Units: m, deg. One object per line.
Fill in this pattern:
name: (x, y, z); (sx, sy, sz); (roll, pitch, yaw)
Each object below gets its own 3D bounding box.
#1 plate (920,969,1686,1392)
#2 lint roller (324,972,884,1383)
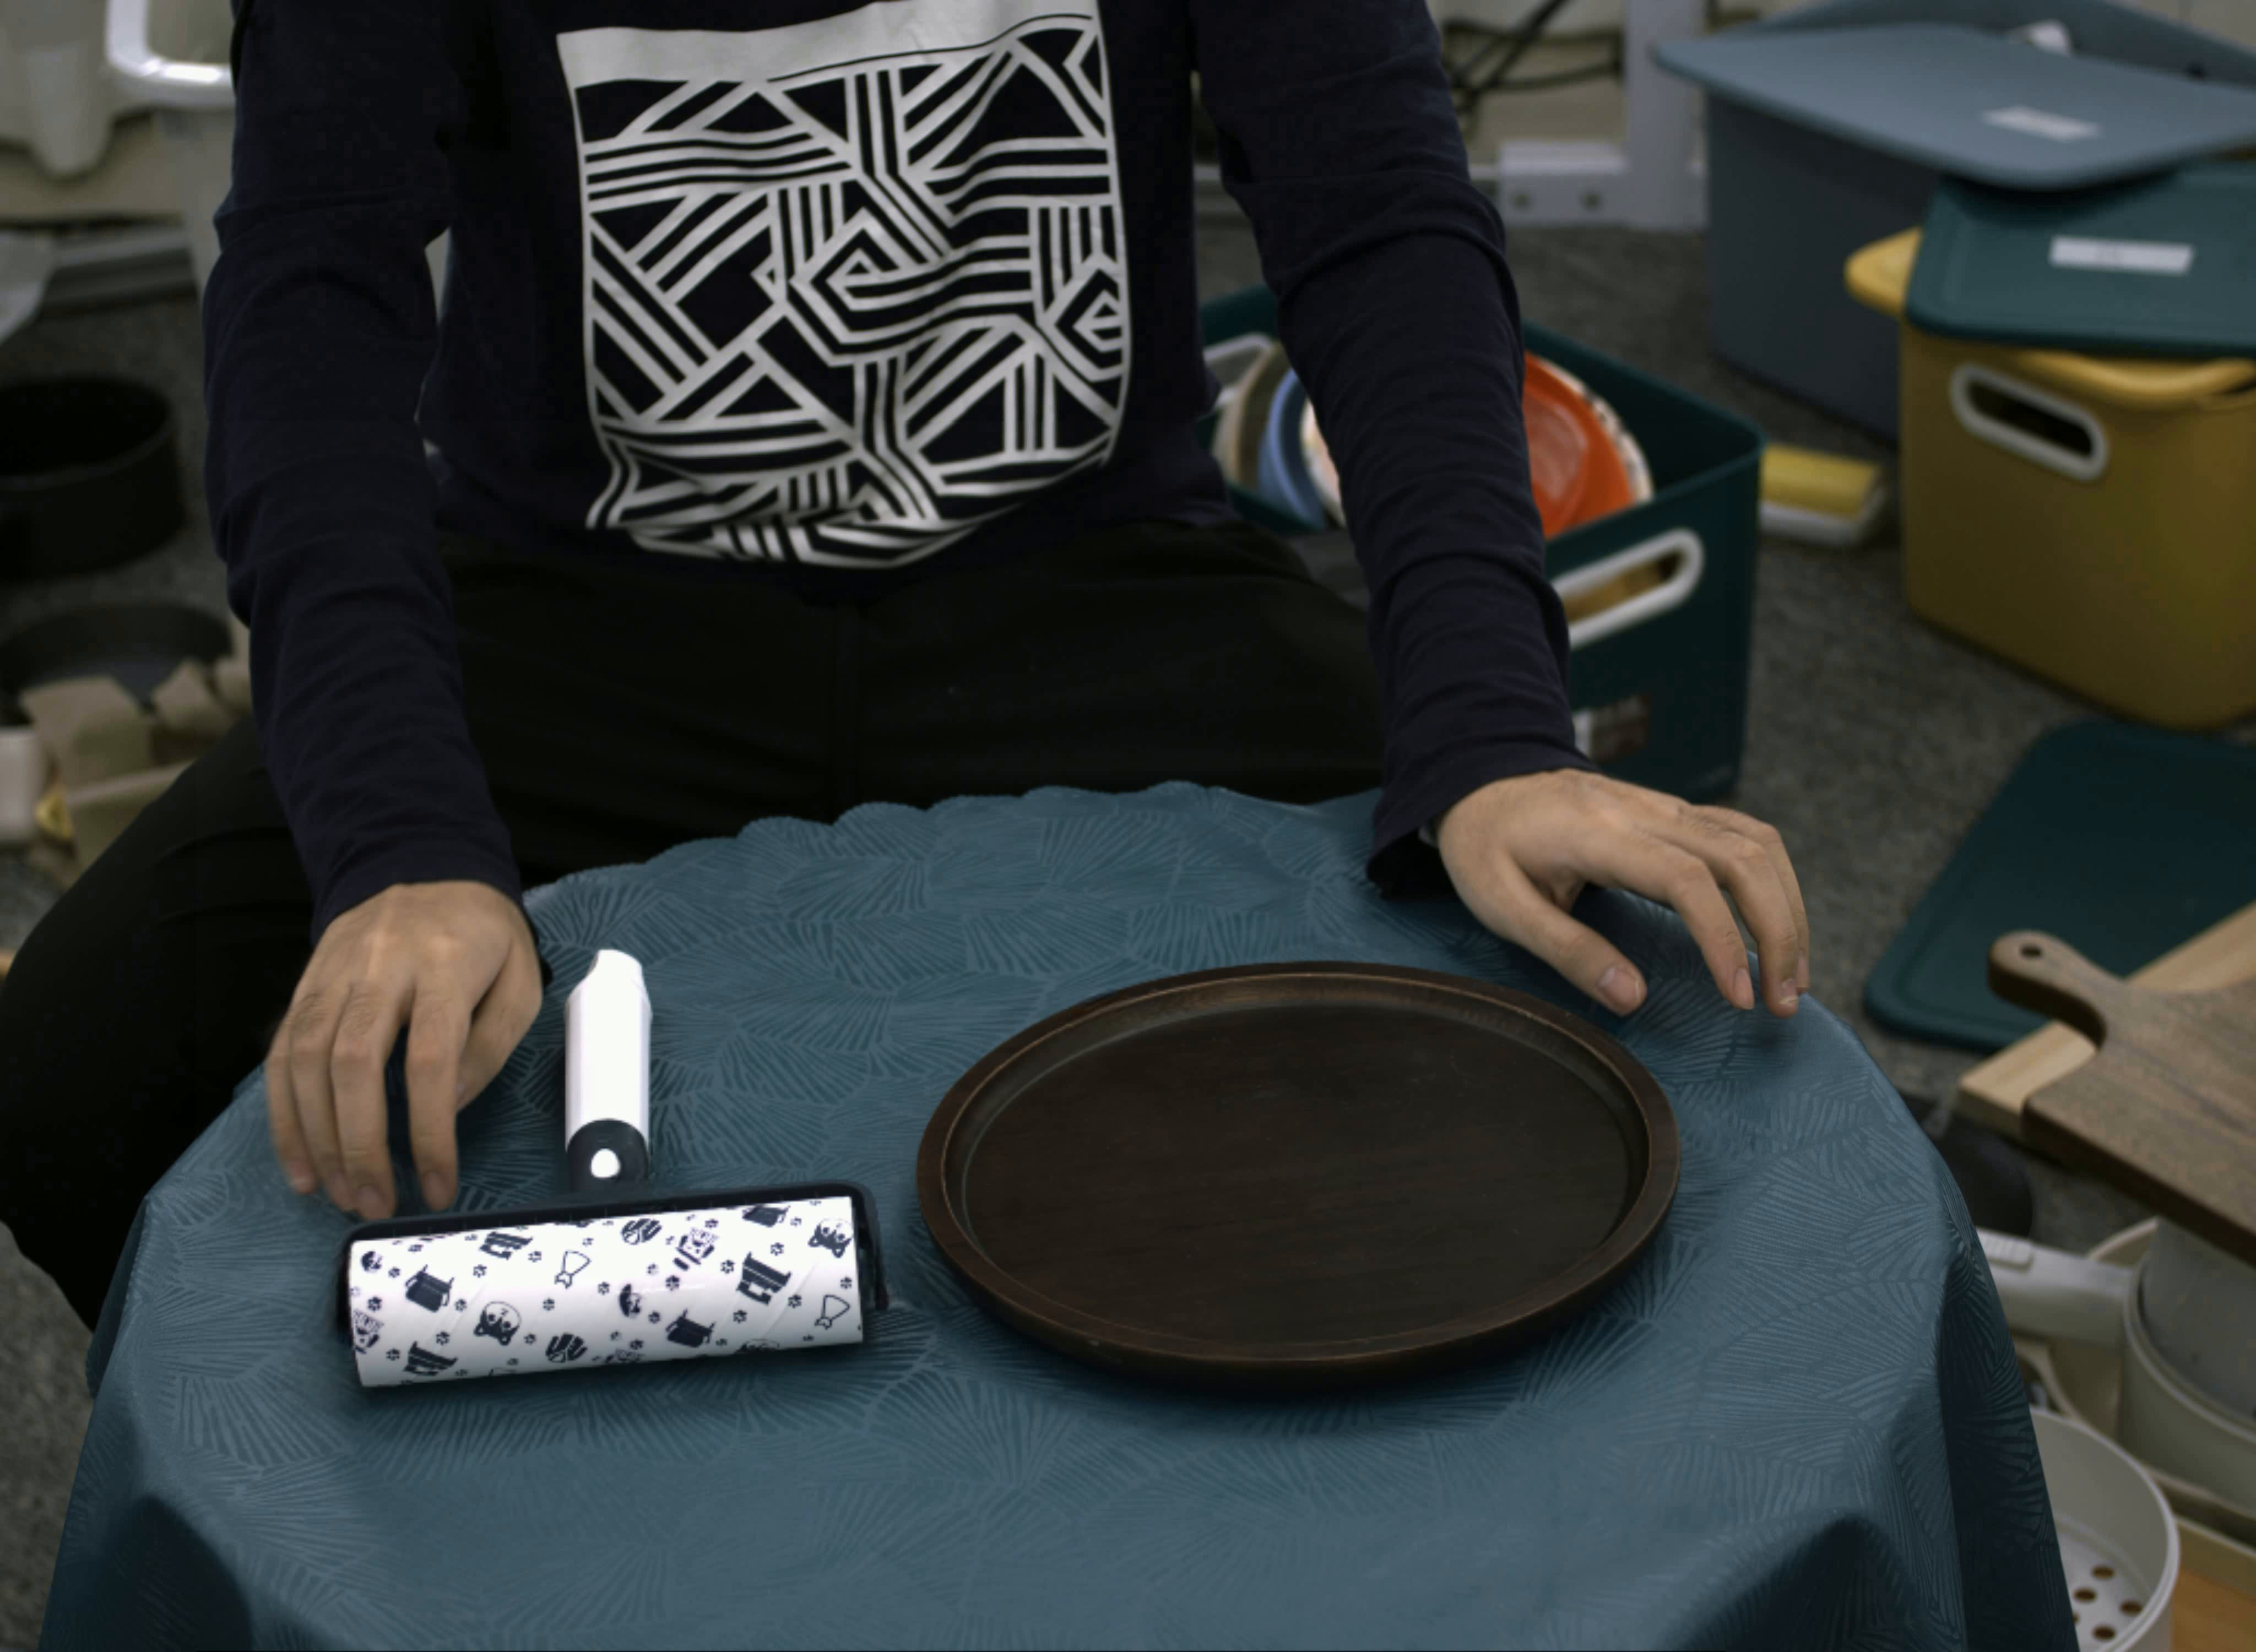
plate: (0.057, 0.114, 1.846); (0.253, 0.029, 0.258); (-2, 25, 1)
lint roller: (-0.175, 0.104, 1.868); (0.176, 0.050, 0.250); (-6, 25, -4)
